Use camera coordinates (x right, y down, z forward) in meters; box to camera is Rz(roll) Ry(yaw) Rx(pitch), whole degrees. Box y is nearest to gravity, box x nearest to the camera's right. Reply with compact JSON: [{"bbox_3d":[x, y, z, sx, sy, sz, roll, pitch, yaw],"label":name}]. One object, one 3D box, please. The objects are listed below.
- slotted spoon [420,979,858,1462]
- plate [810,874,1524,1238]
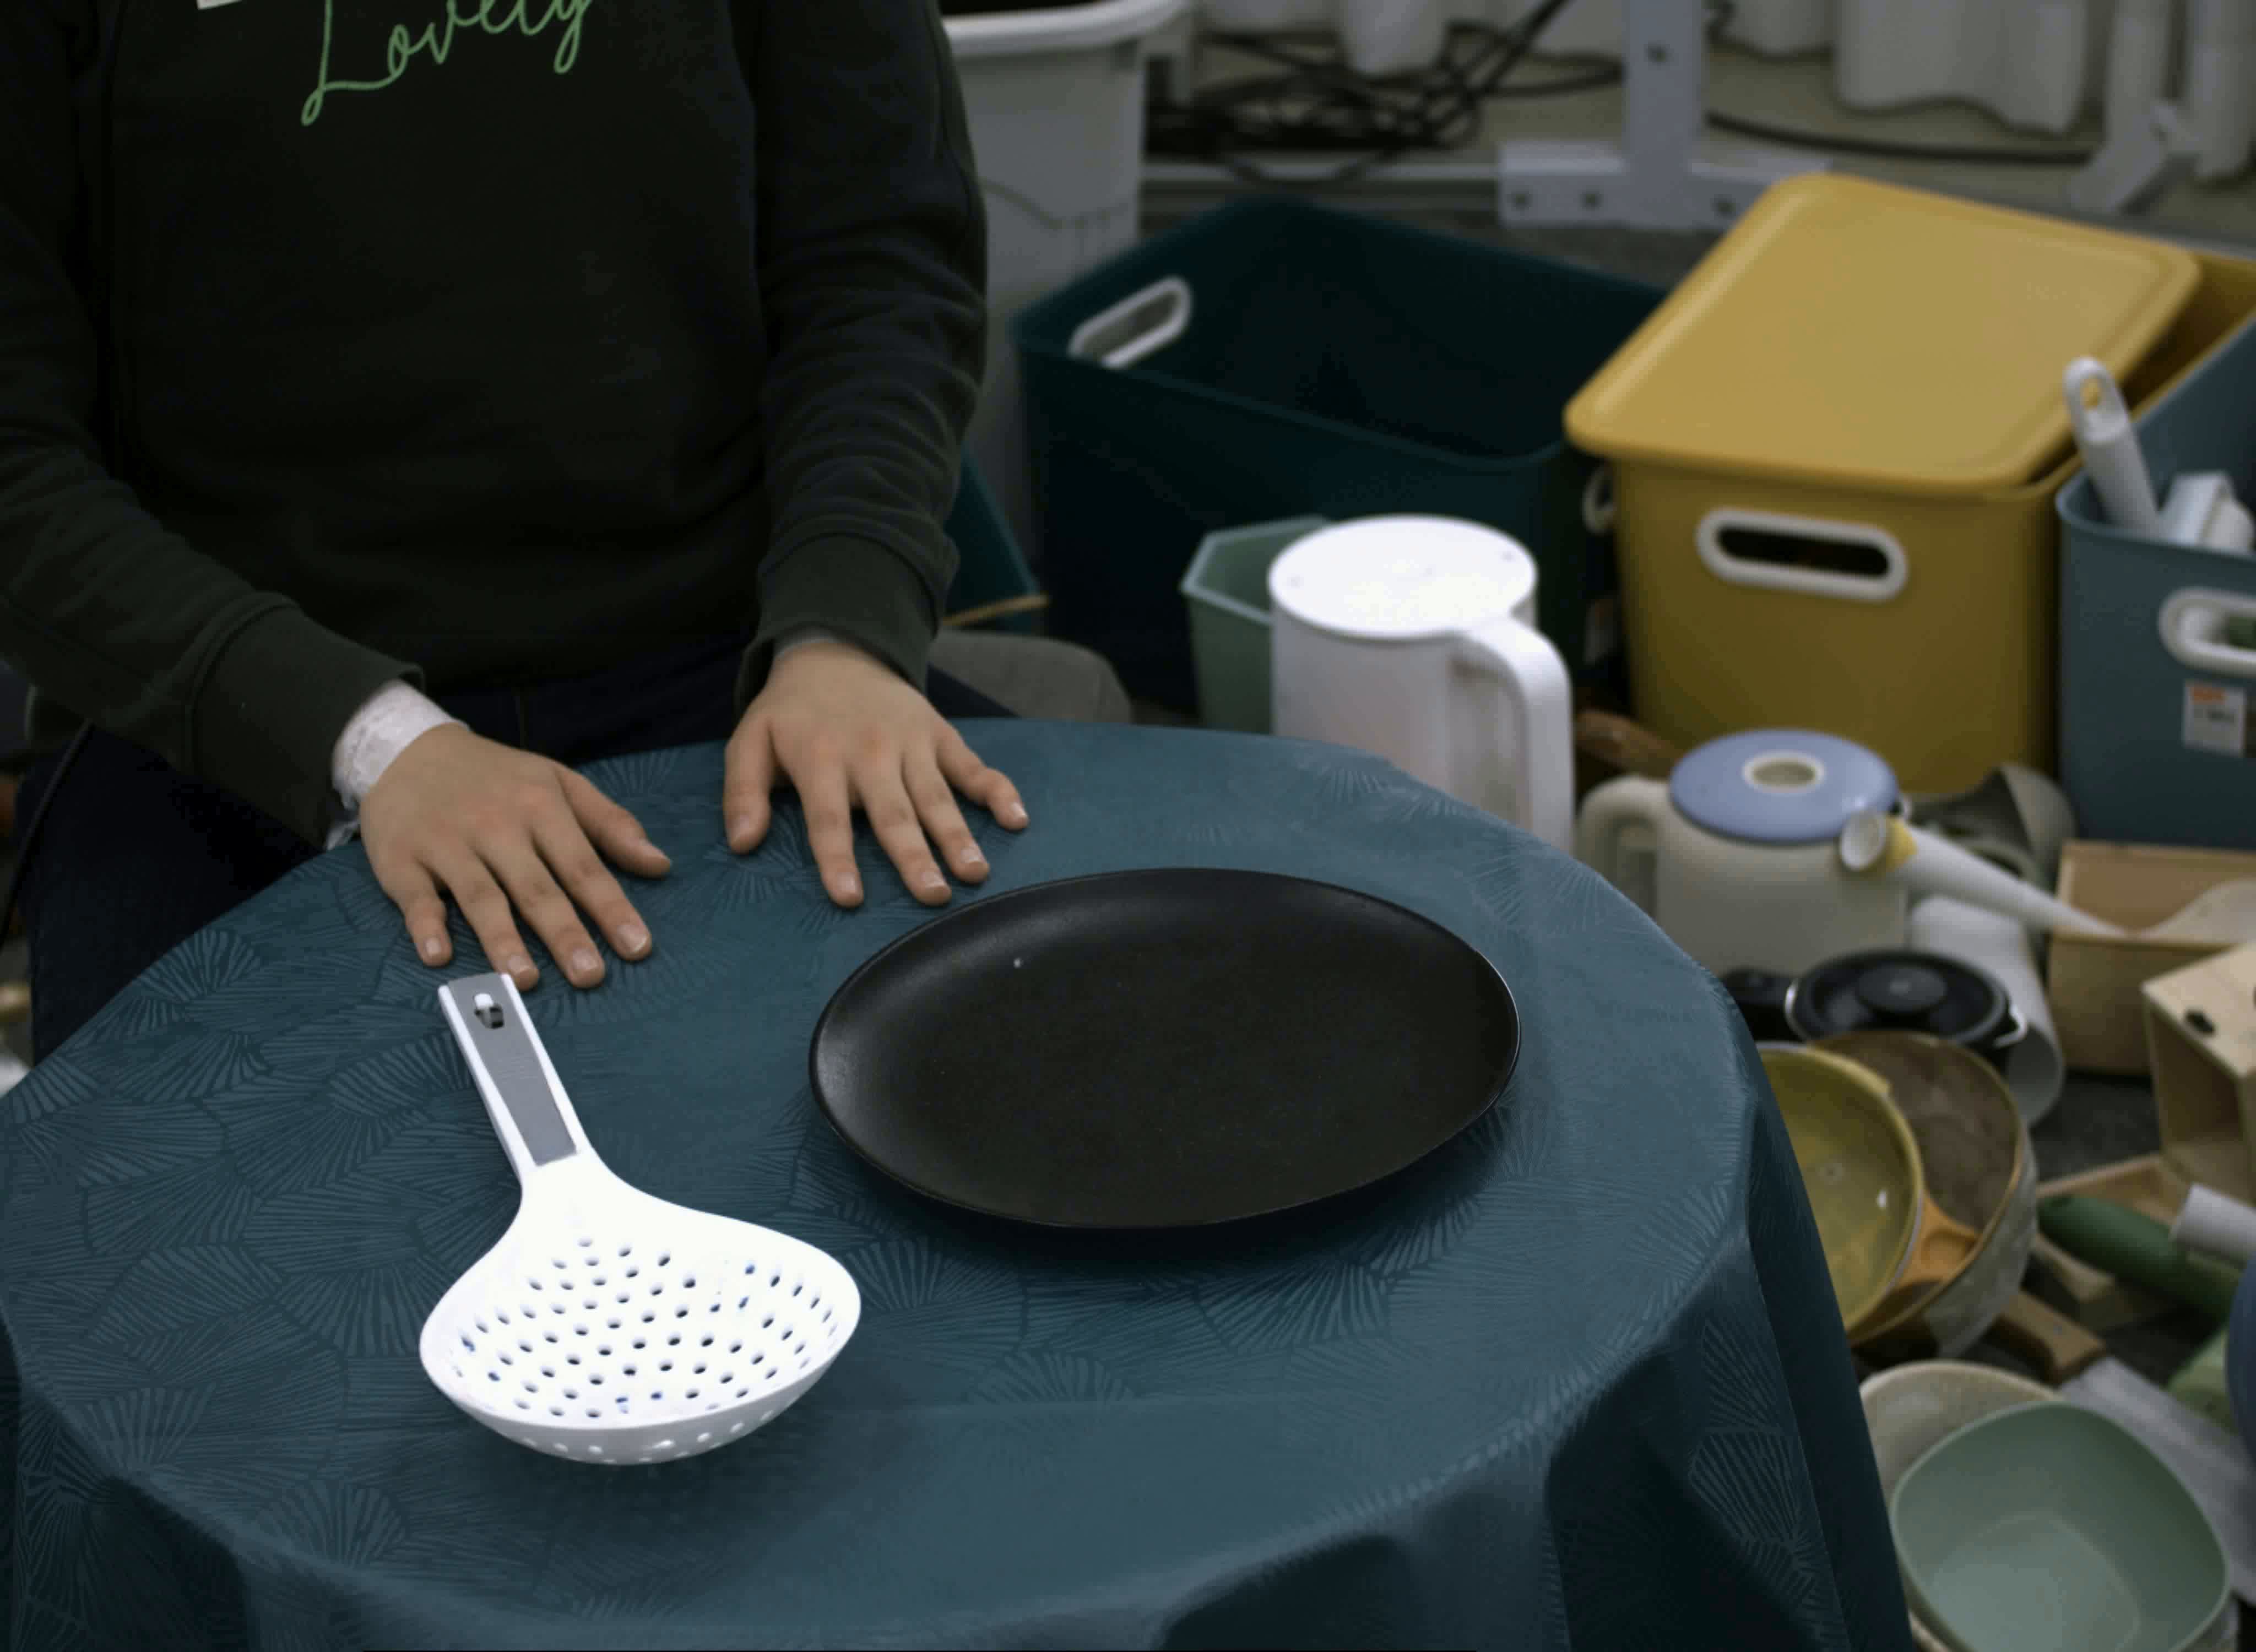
[{"bbox_3d":[-0.181,0.122,1.830,0.136,0.045,0.353,-8,27,-14],"label":"slotted spoon"},{"bbox_3d":[0.013,0.082,1.912,0.243,0.023,0.248,-2,27,2],"label":"plate"}]
